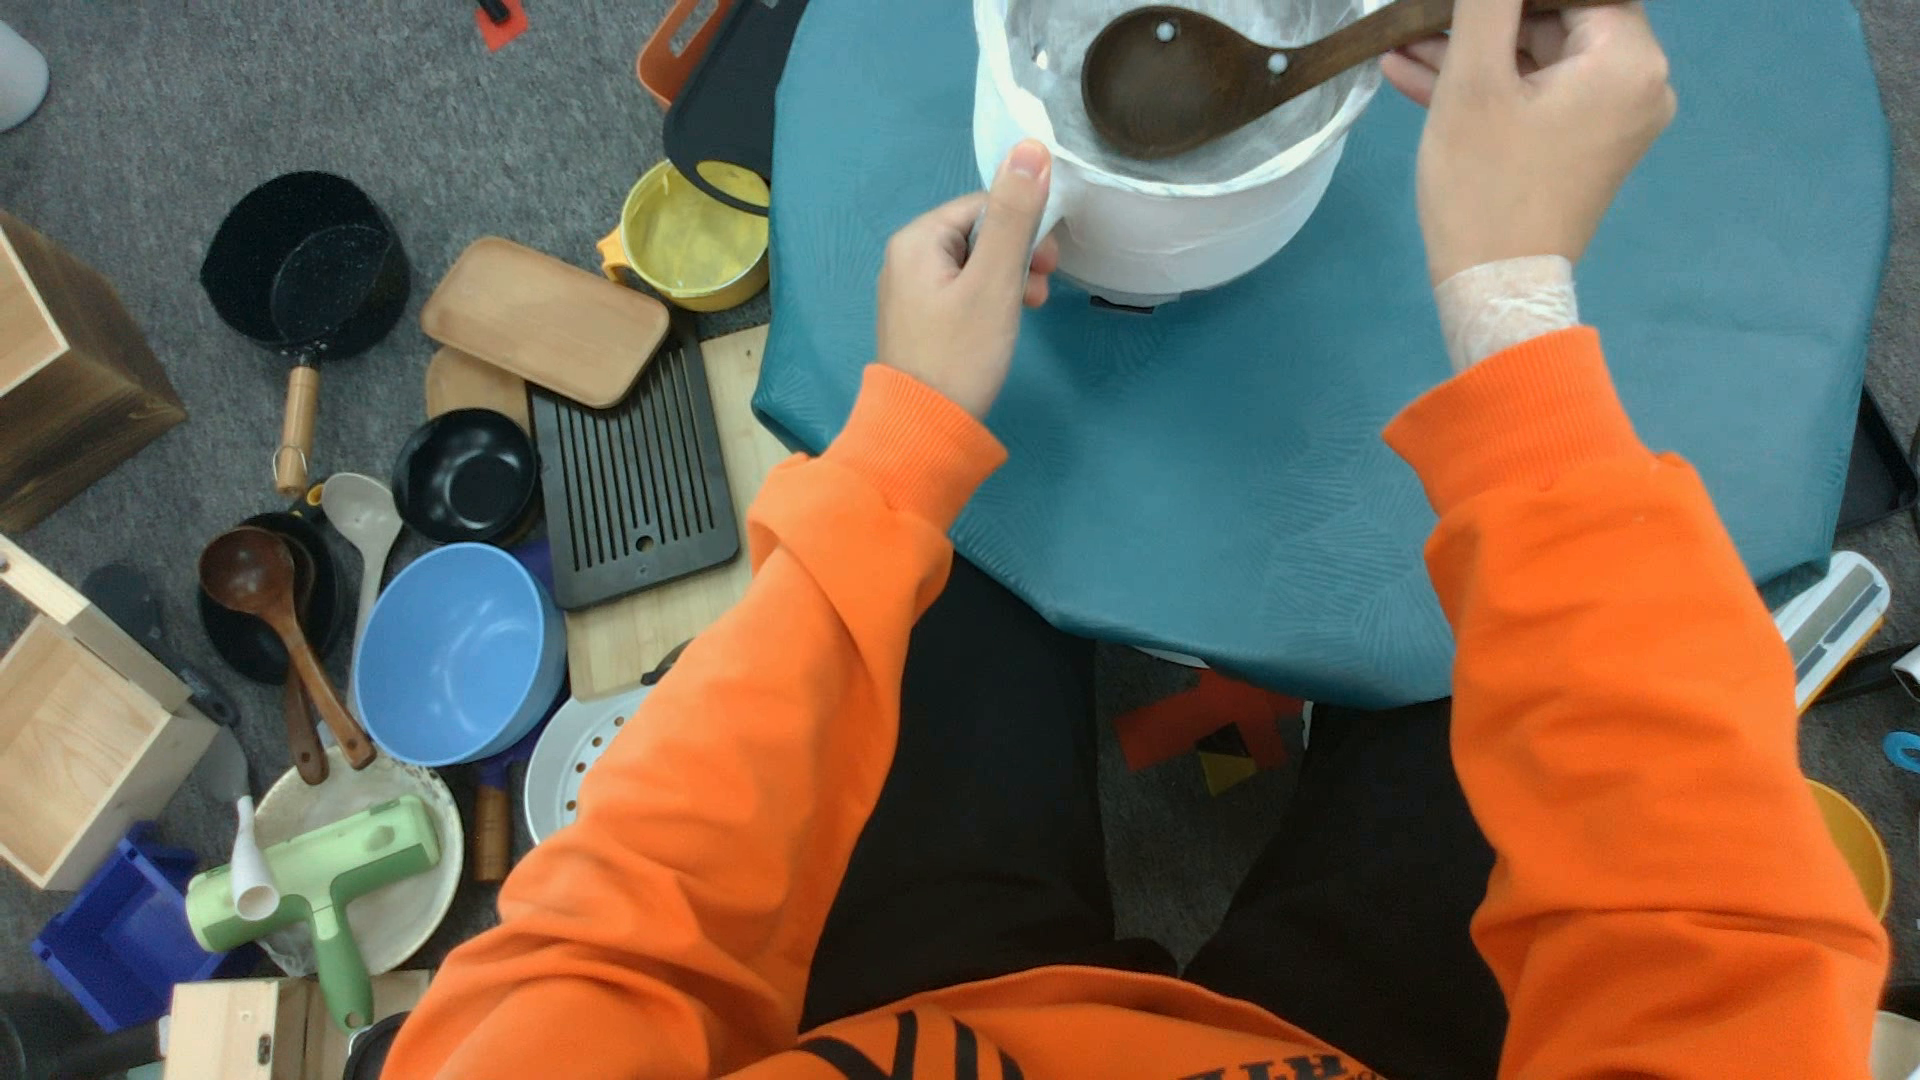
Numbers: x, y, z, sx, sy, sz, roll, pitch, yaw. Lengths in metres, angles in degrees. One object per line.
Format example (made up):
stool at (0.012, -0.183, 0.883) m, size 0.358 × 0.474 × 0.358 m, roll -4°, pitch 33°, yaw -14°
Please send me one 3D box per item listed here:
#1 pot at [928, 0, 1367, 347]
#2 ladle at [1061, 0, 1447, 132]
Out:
pot at (0.068, -0.196, 0.640) m, size 0.179 × 0.136 × 0.234 m, roll 36°, pitch 79°, yaw 8°
ladle at (0.143, -0.219, 0.553) m, size 0.071 × 0.273 × 0.076 m, roll 12°, pitch 89°, yaw -32°
